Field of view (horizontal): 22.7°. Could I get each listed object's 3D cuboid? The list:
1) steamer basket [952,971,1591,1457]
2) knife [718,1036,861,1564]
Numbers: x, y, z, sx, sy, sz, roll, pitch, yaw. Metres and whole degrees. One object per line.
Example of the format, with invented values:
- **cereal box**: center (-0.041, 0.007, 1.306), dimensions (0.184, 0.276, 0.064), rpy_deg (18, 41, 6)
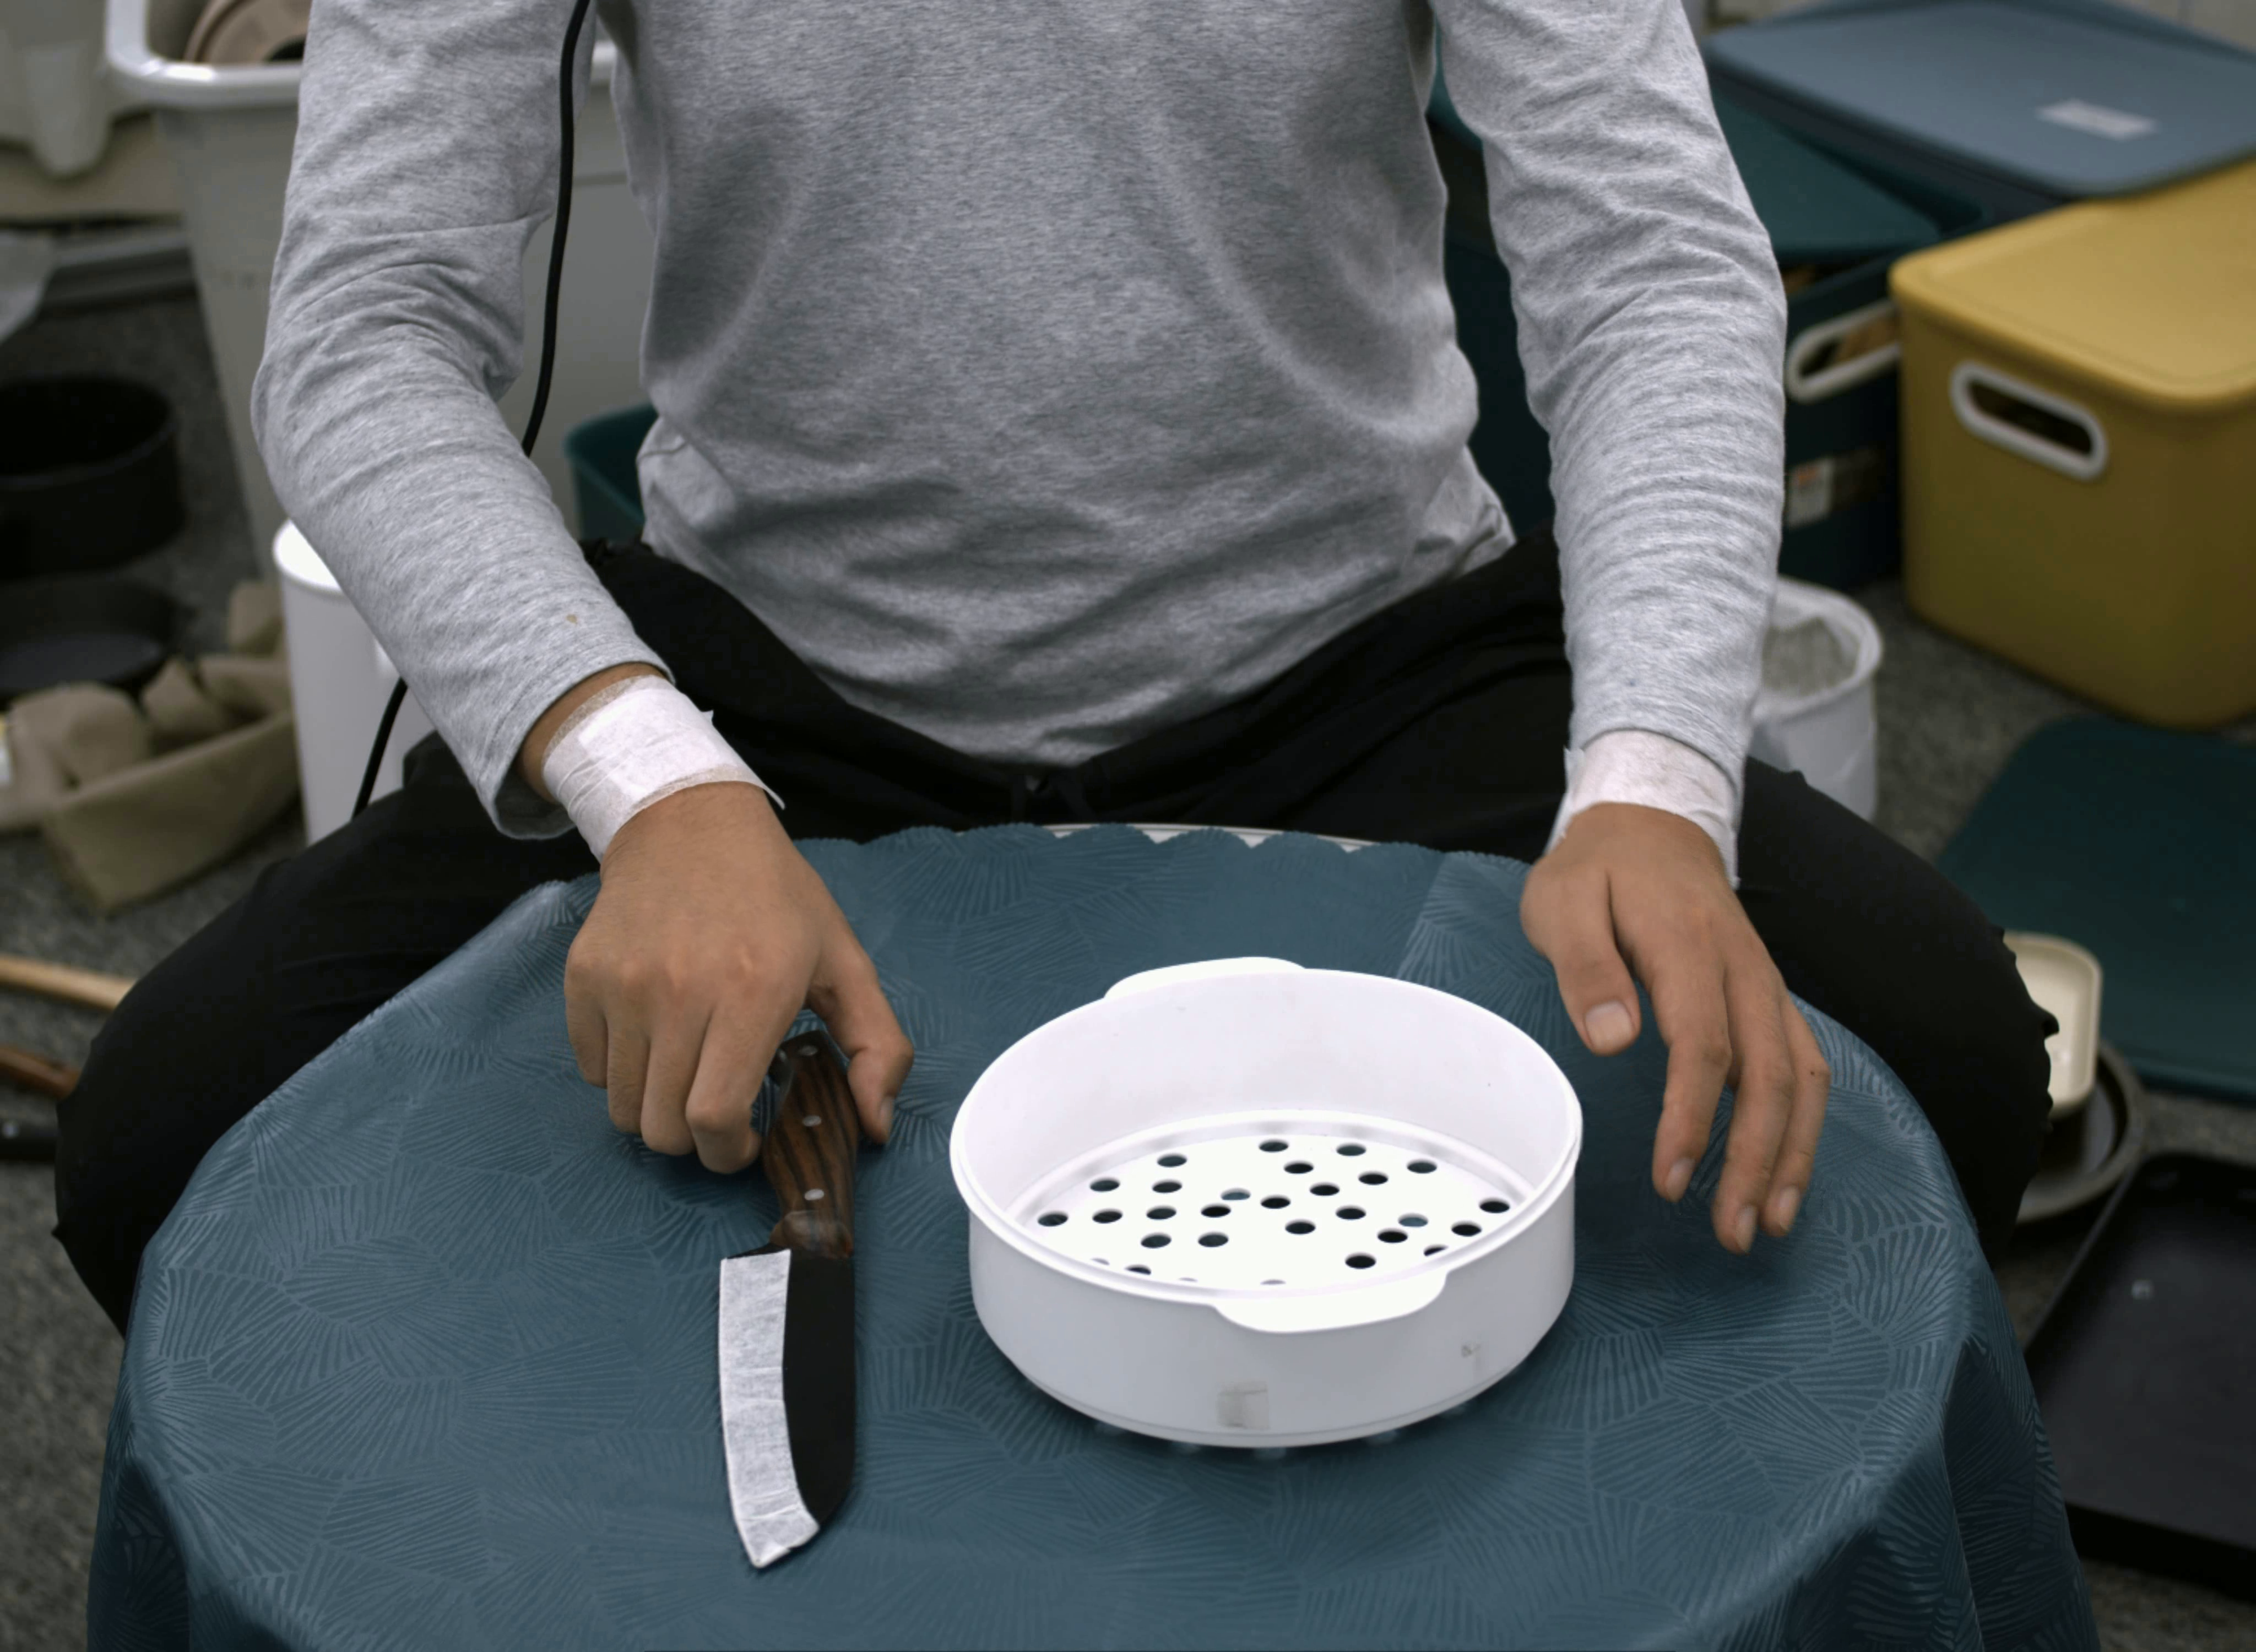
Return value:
- **steamer basket**: center (0.046, 0.124, 1.780), dimensions (0.201, 0.068, 0.233), rpy_deg (-7, 26, -8)
- **knife**: center (-0.107, 0.150, 1.800), dimensions (0.050, 0.020, 0.293), rpy_deg (-7, 29, 4)
